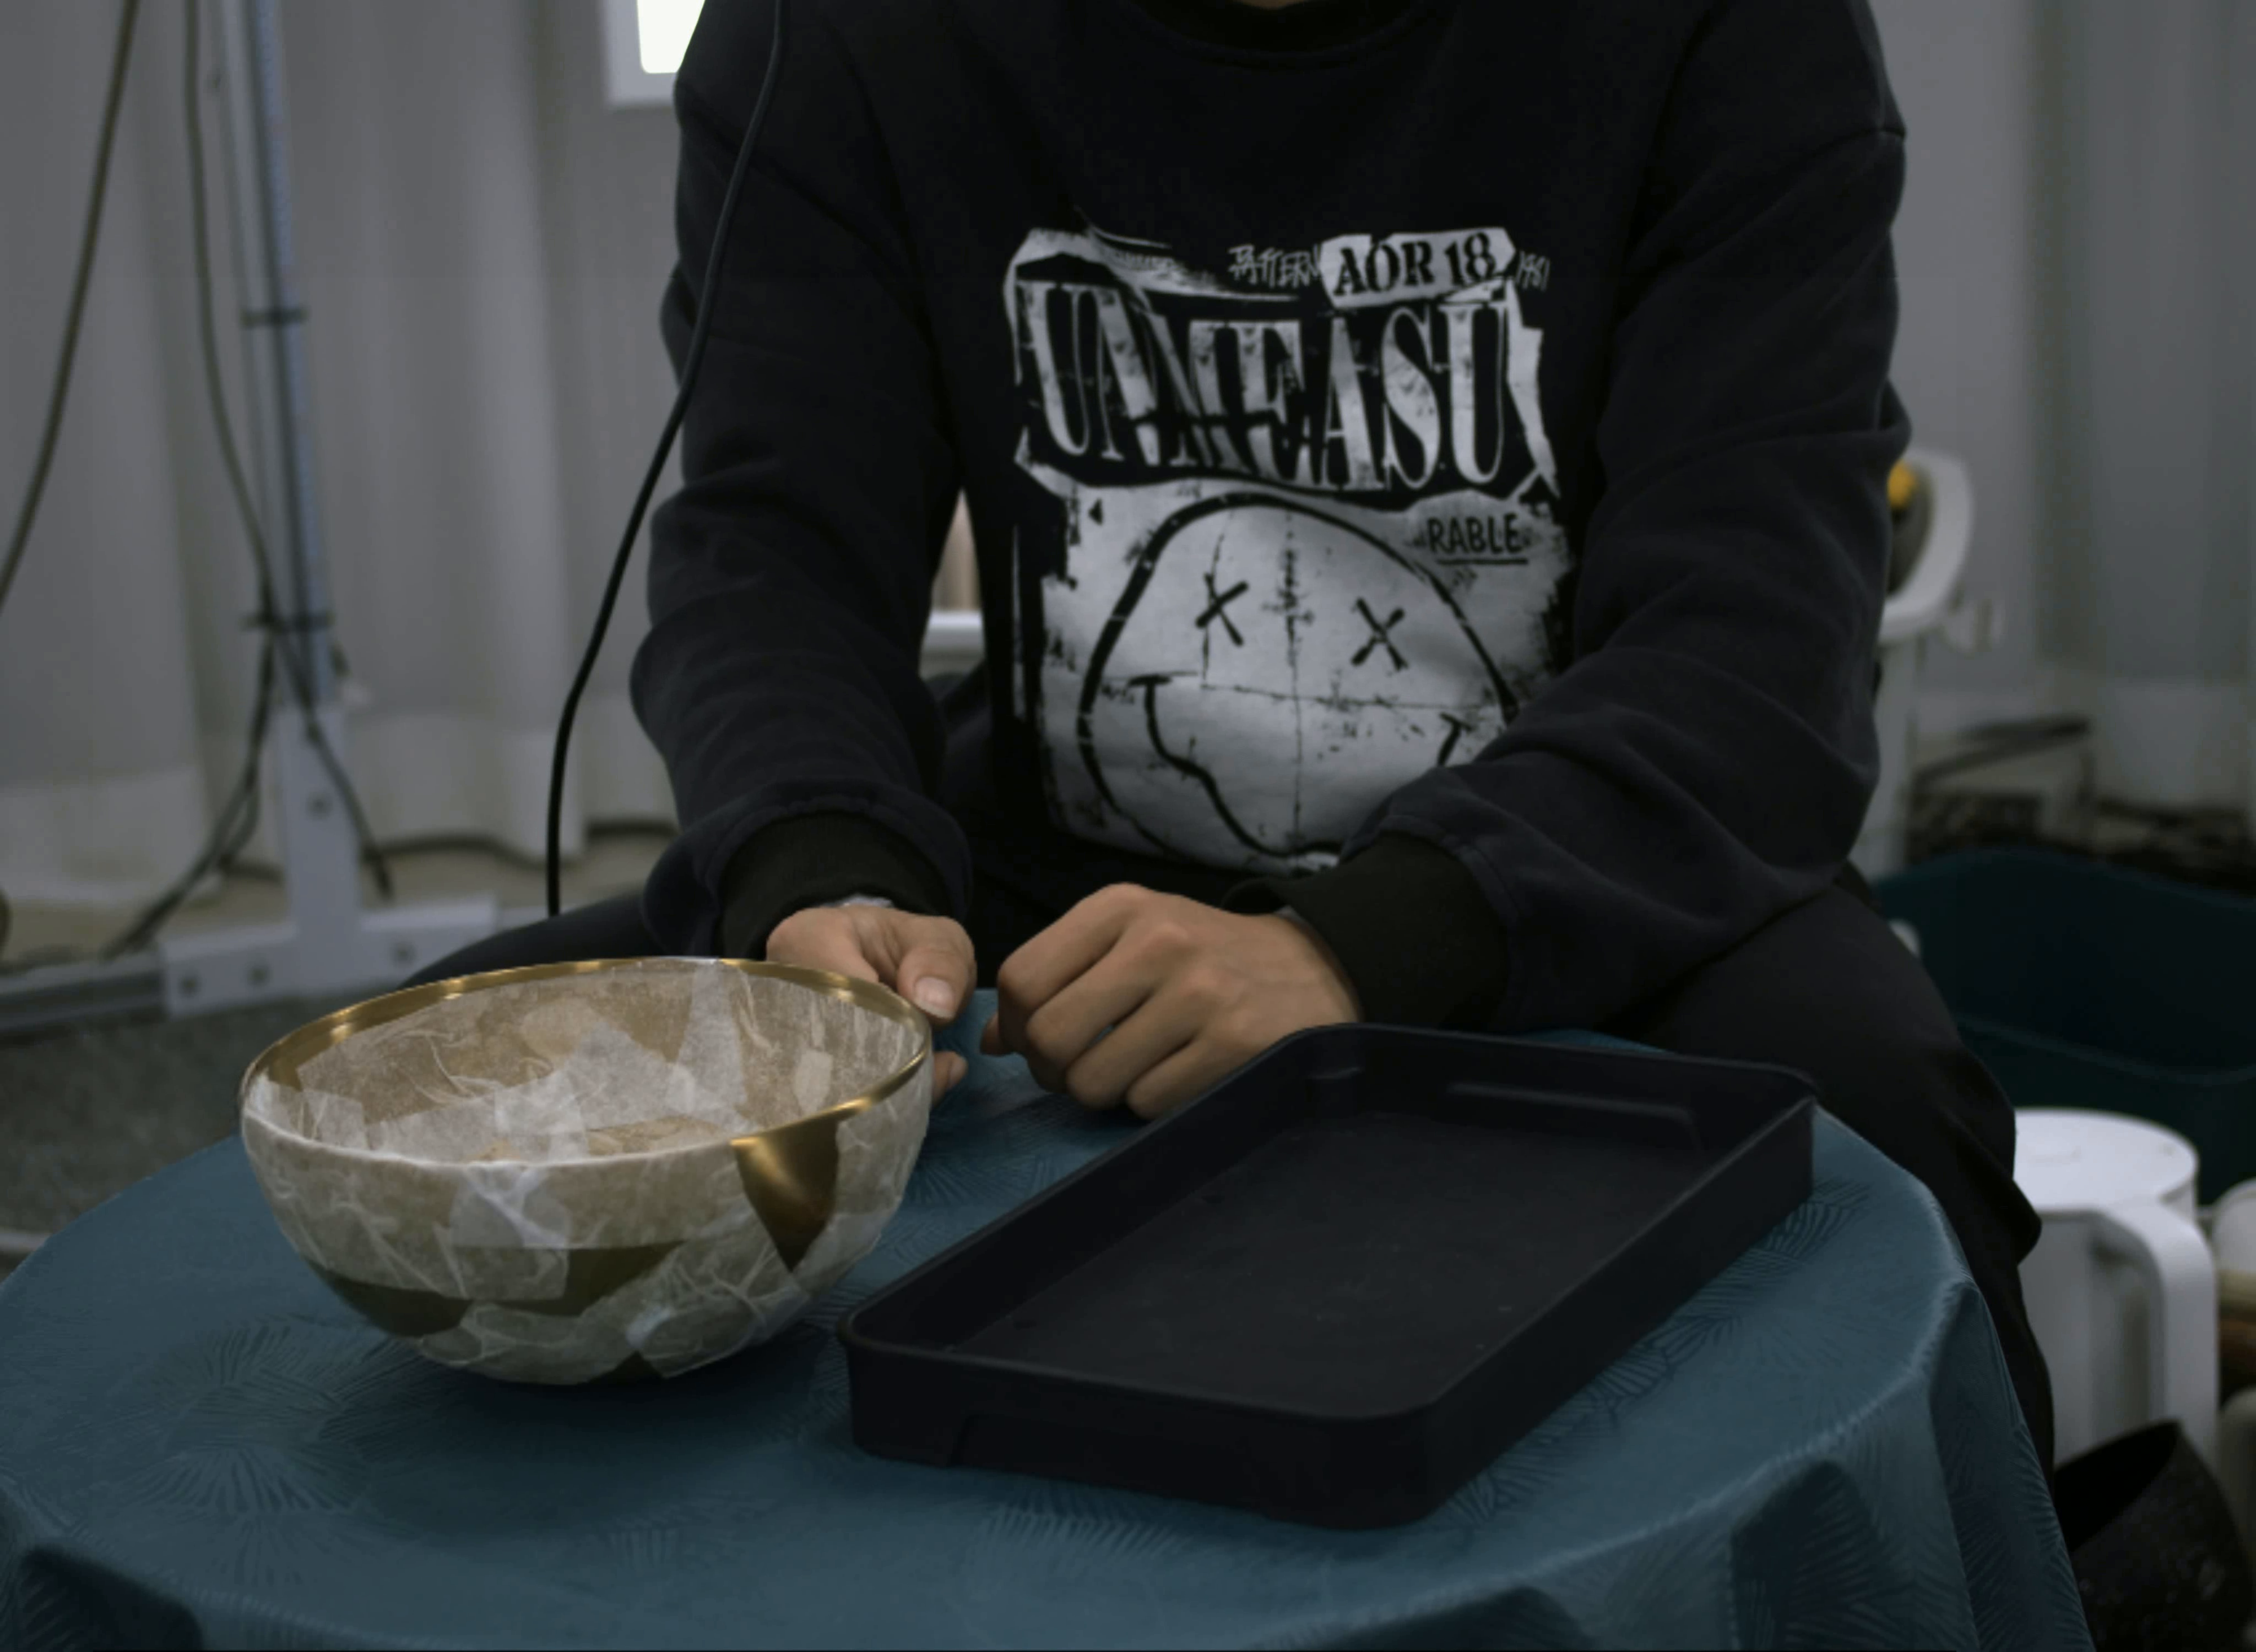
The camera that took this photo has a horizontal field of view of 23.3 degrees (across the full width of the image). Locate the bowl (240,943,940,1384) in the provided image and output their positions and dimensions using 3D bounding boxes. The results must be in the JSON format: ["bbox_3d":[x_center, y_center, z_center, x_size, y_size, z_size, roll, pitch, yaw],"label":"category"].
[{"bbox_3d":[-0.150,0.107,1.593,0.214,0.094,0.216,-4,14,1],"label":"bowl"}]

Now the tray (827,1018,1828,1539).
[{"bbox_3d":[0.066,0.125,1.597,0.185,0.037,0.318,6,18,29],"label":"tray"}]
